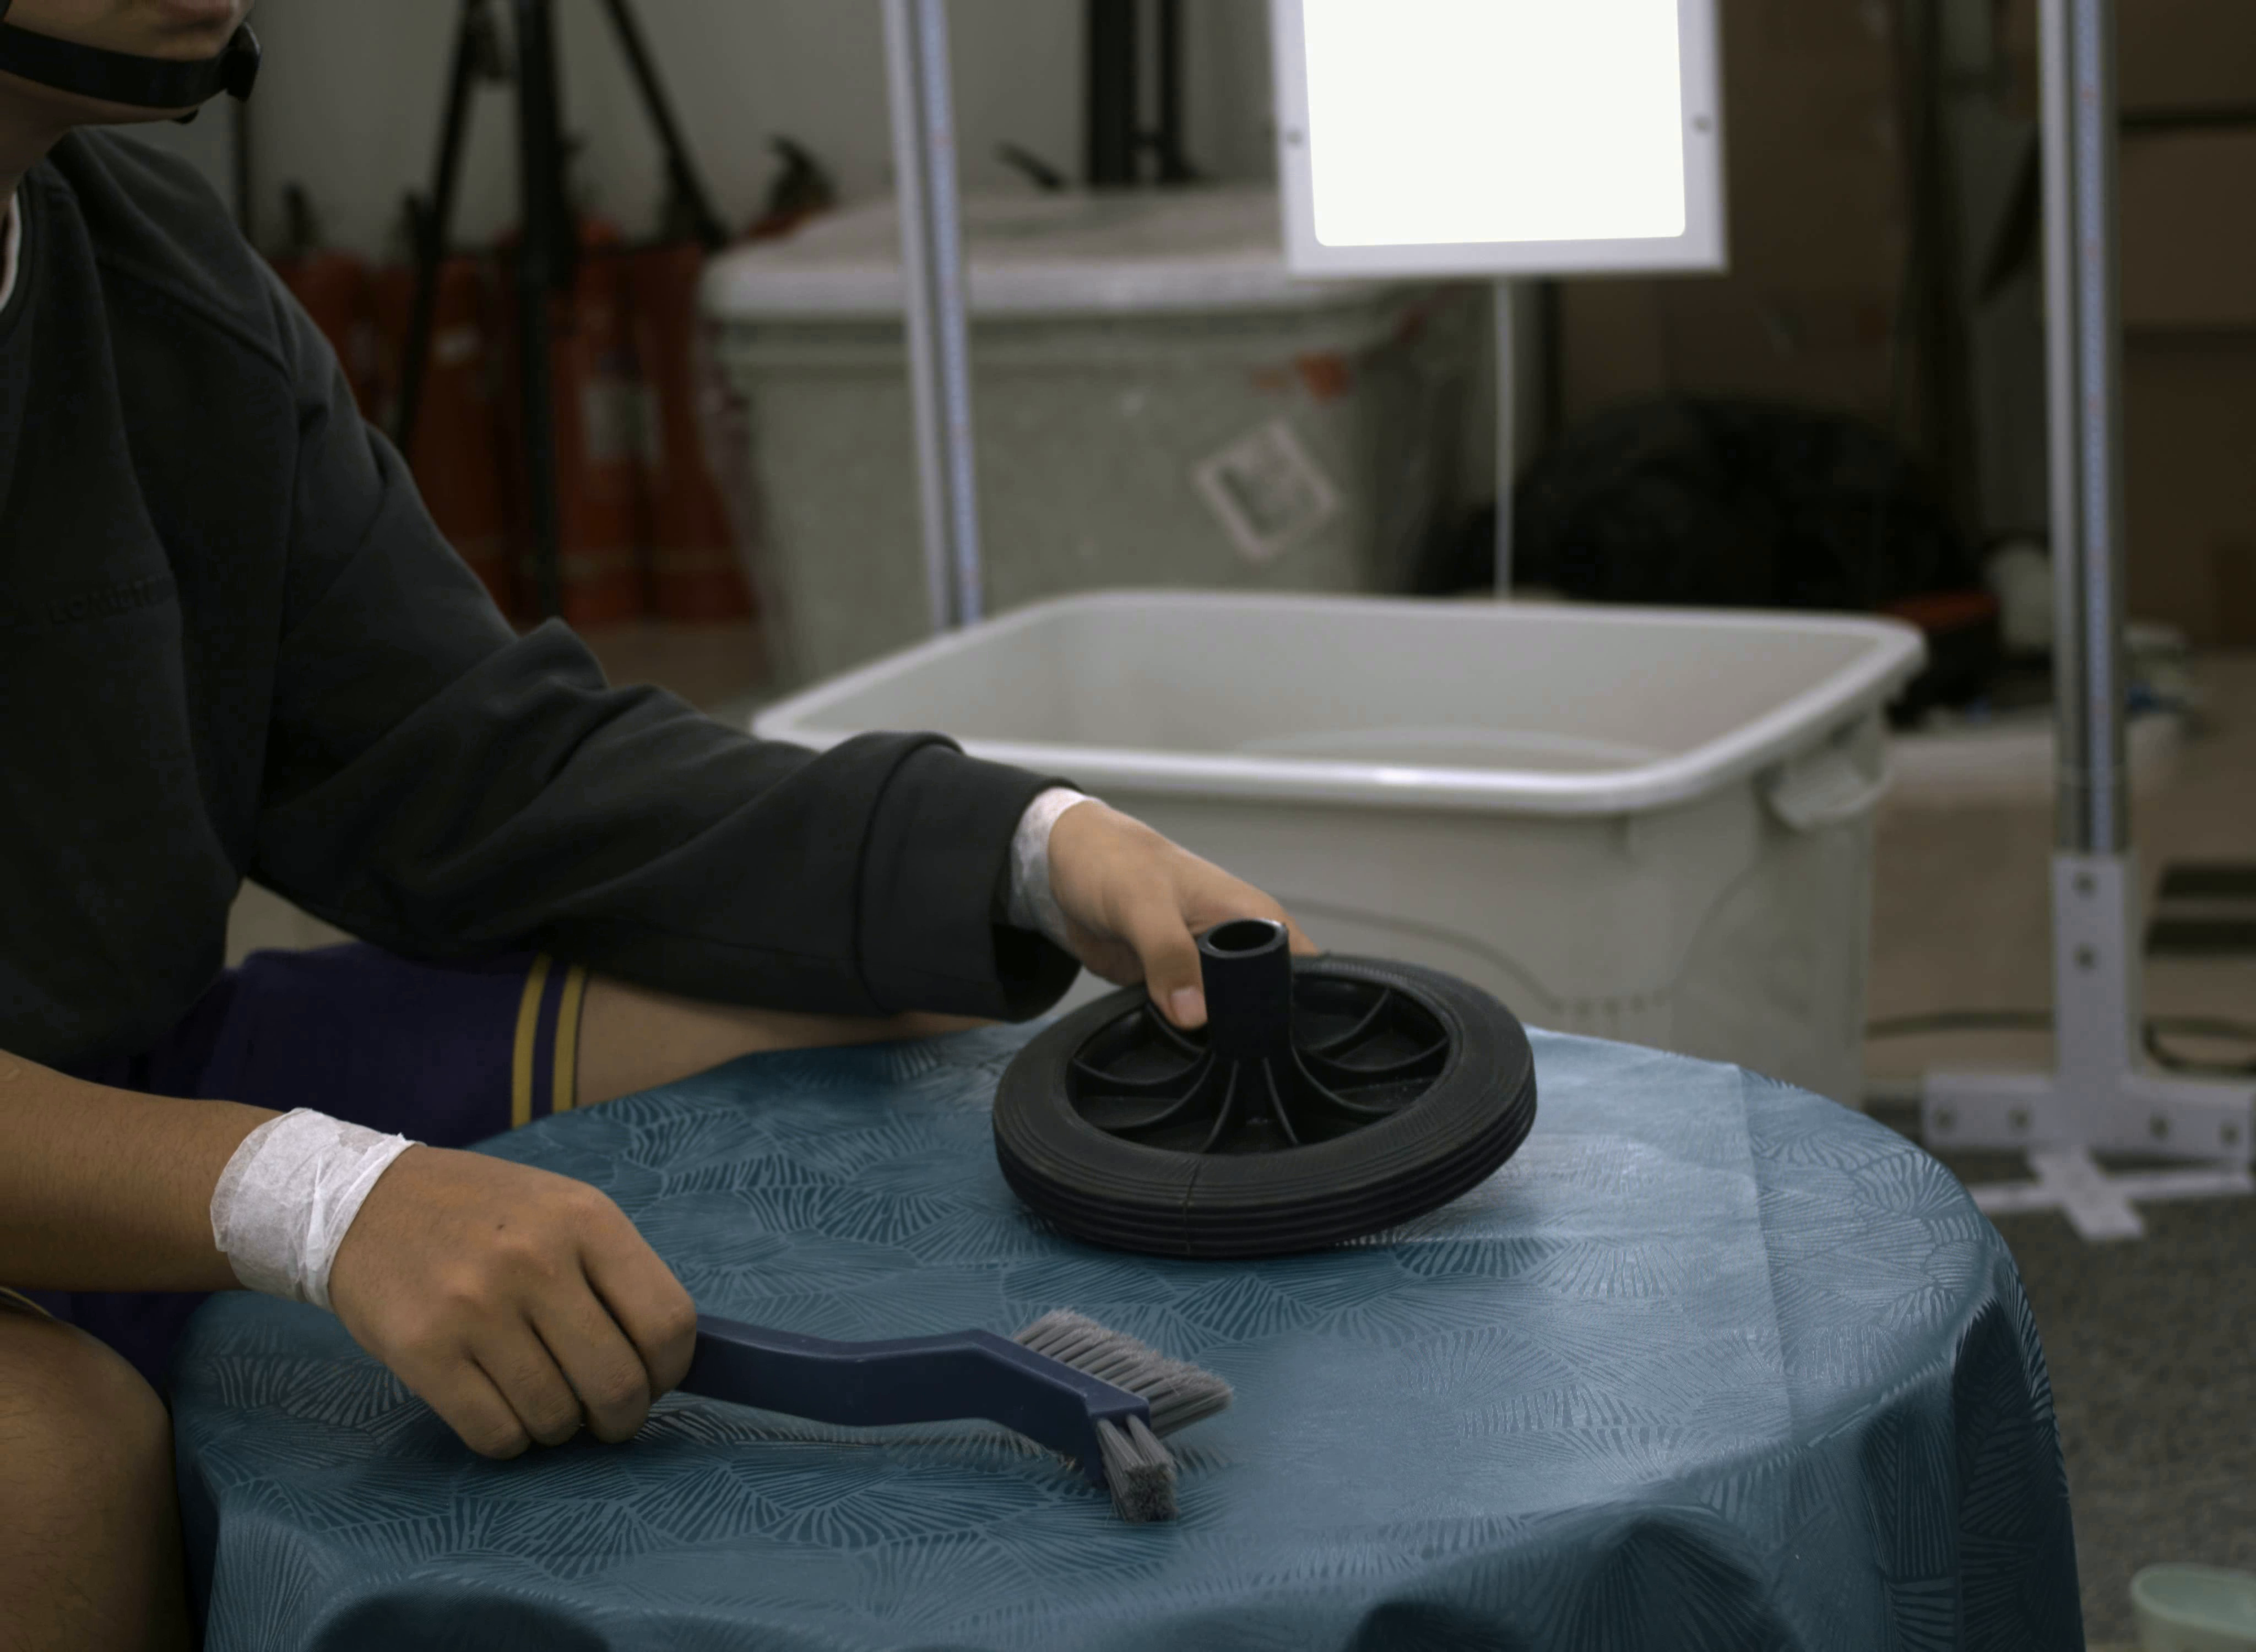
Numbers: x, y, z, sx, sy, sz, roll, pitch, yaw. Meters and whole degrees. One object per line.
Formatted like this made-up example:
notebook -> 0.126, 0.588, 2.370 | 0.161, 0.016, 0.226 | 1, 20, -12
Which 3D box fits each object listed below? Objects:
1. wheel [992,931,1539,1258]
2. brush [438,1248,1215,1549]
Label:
wheel -> 0.044, 0.078, 1.883 | 0.183, 0.079, 0.193 | -24, 27, -30
brush -> -0.104, 0.169, 1.675 | 0.277, 0.033, 0.094 | 3, 29, 26
